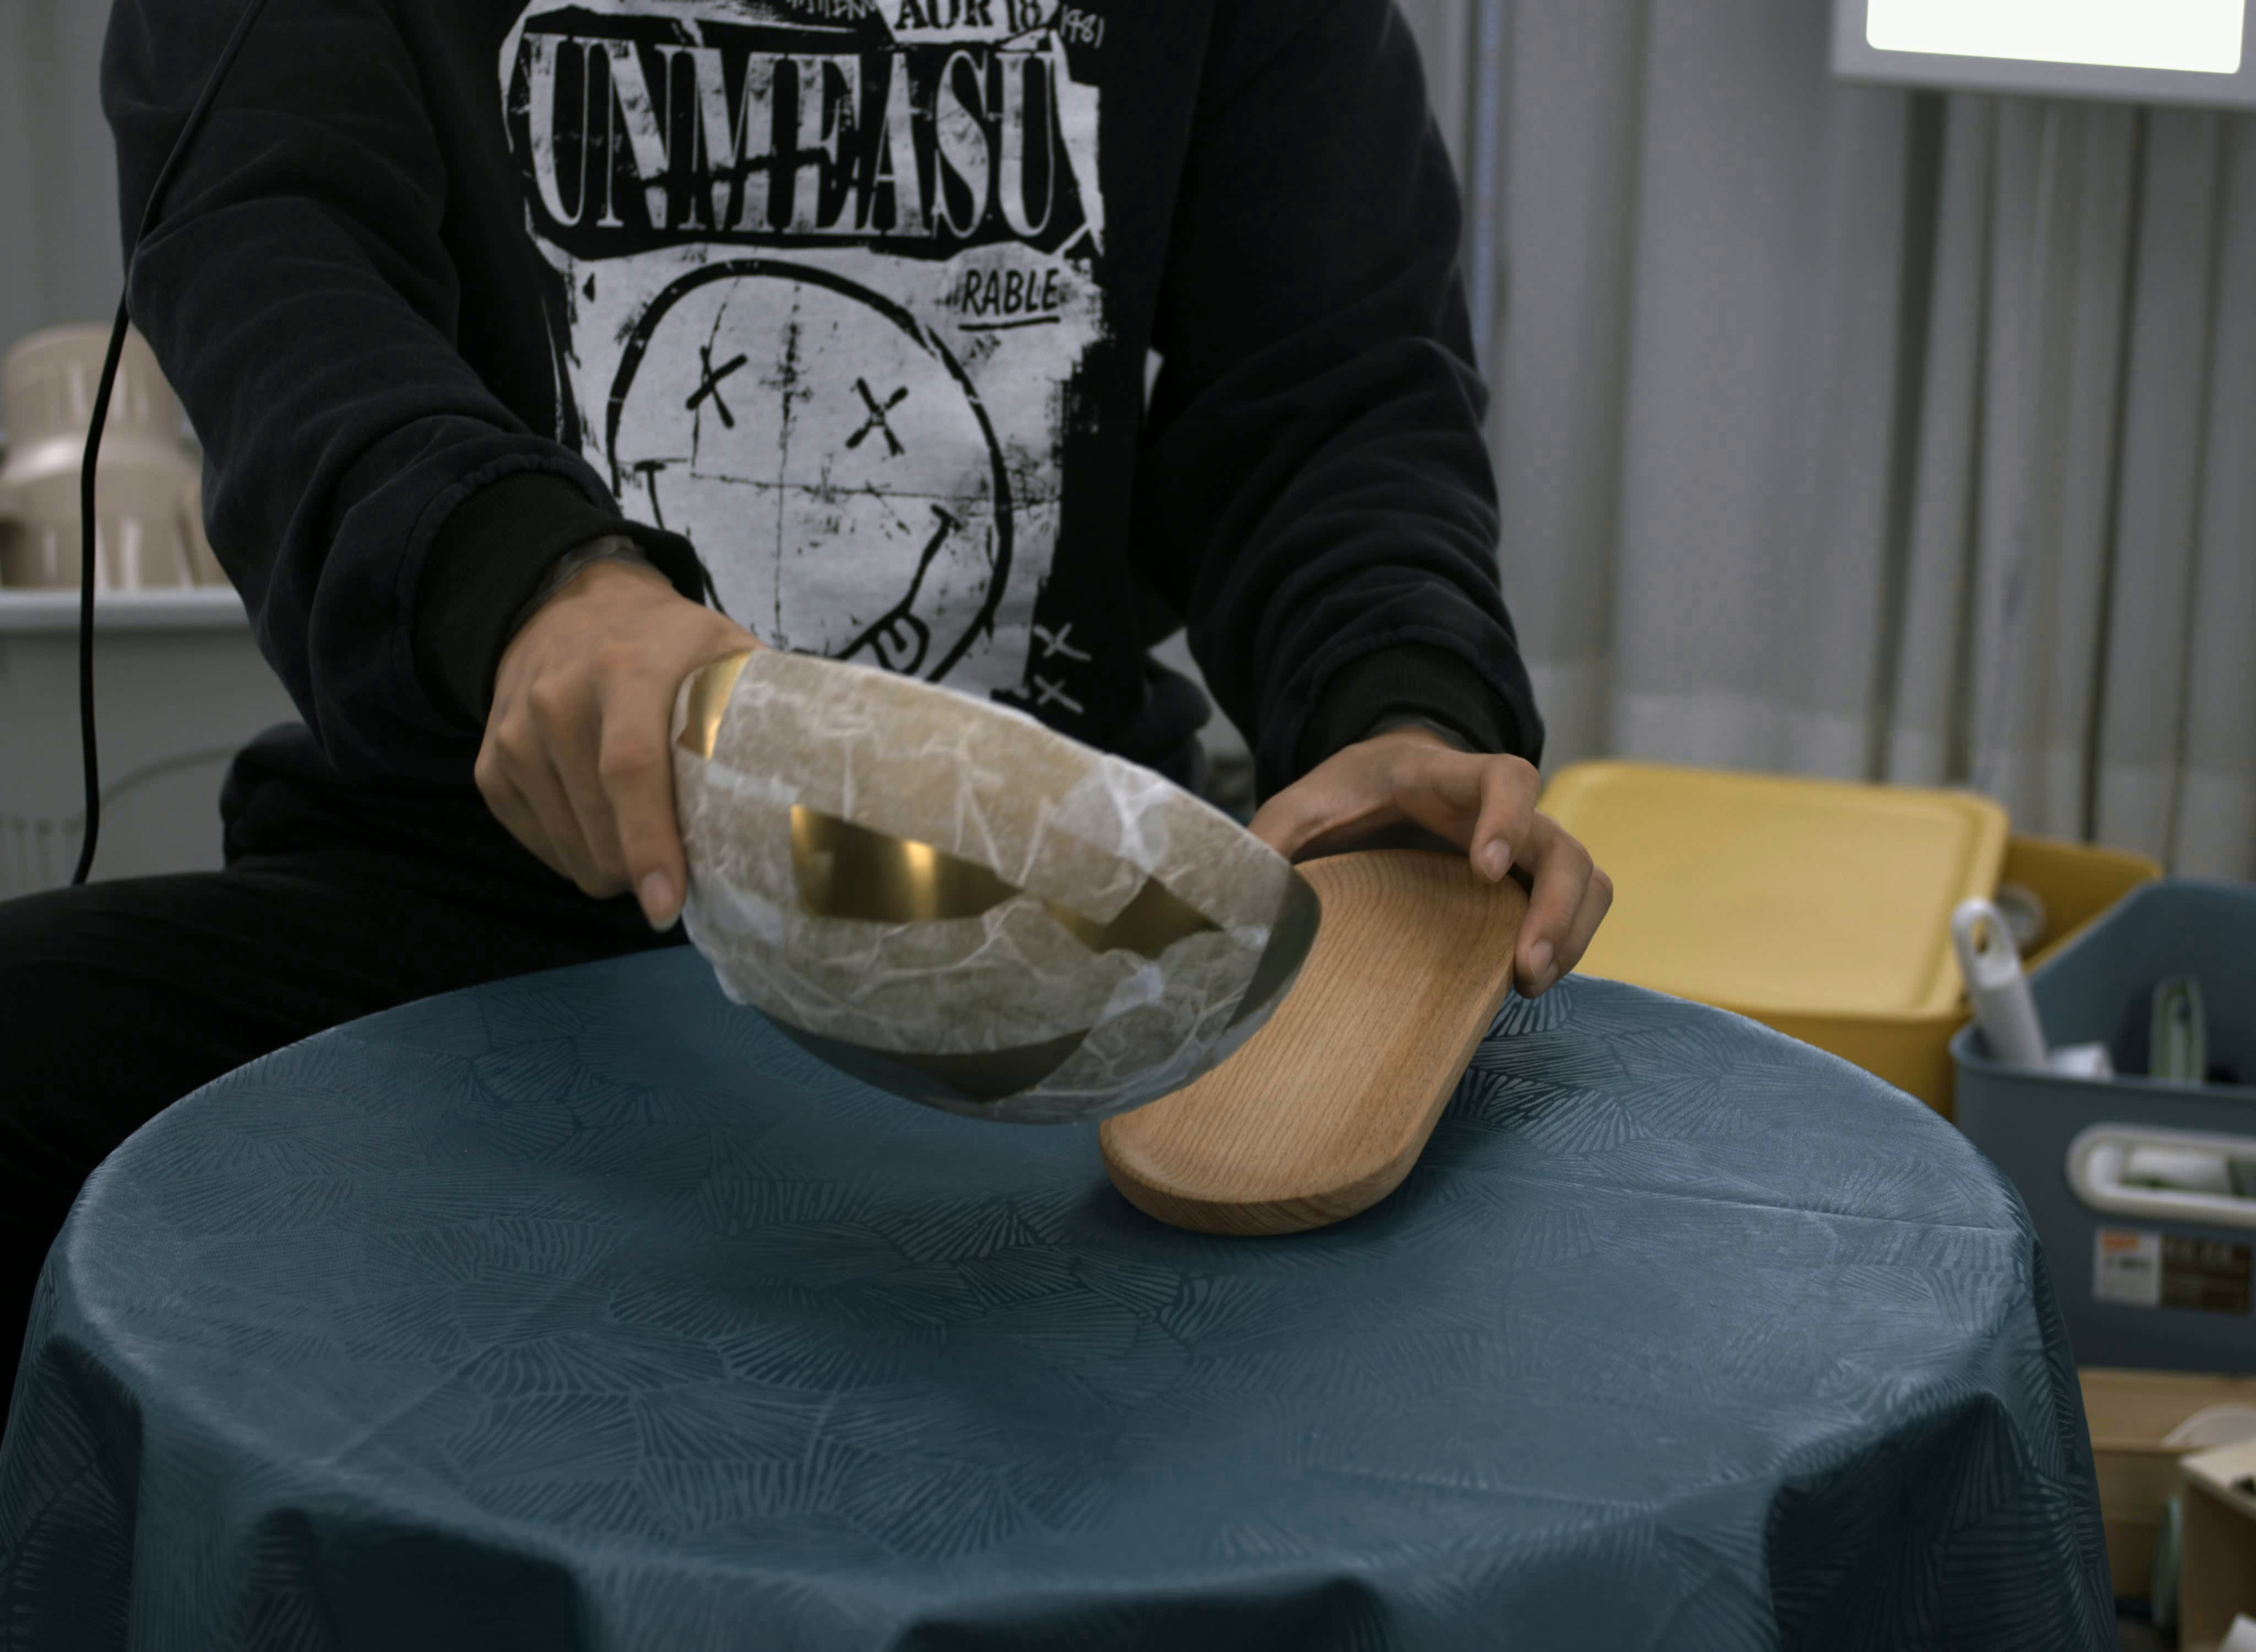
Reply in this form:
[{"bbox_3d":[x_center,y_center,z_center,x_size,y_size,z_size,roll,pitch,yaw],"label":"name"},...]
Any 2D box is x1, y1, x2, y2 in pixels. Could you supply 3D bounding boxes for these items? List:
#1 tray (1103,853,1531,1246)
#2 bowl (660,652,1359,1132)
[{"bbox_3d":[0.063,0.068,1.675,0.101,0.020,0.230,3,30,18],"label":"tray"},{"bbox_3d":[-0.049,0.034,1.526,0.214,0.094,0.215,19,-12,5],"label":"bowl"}]
